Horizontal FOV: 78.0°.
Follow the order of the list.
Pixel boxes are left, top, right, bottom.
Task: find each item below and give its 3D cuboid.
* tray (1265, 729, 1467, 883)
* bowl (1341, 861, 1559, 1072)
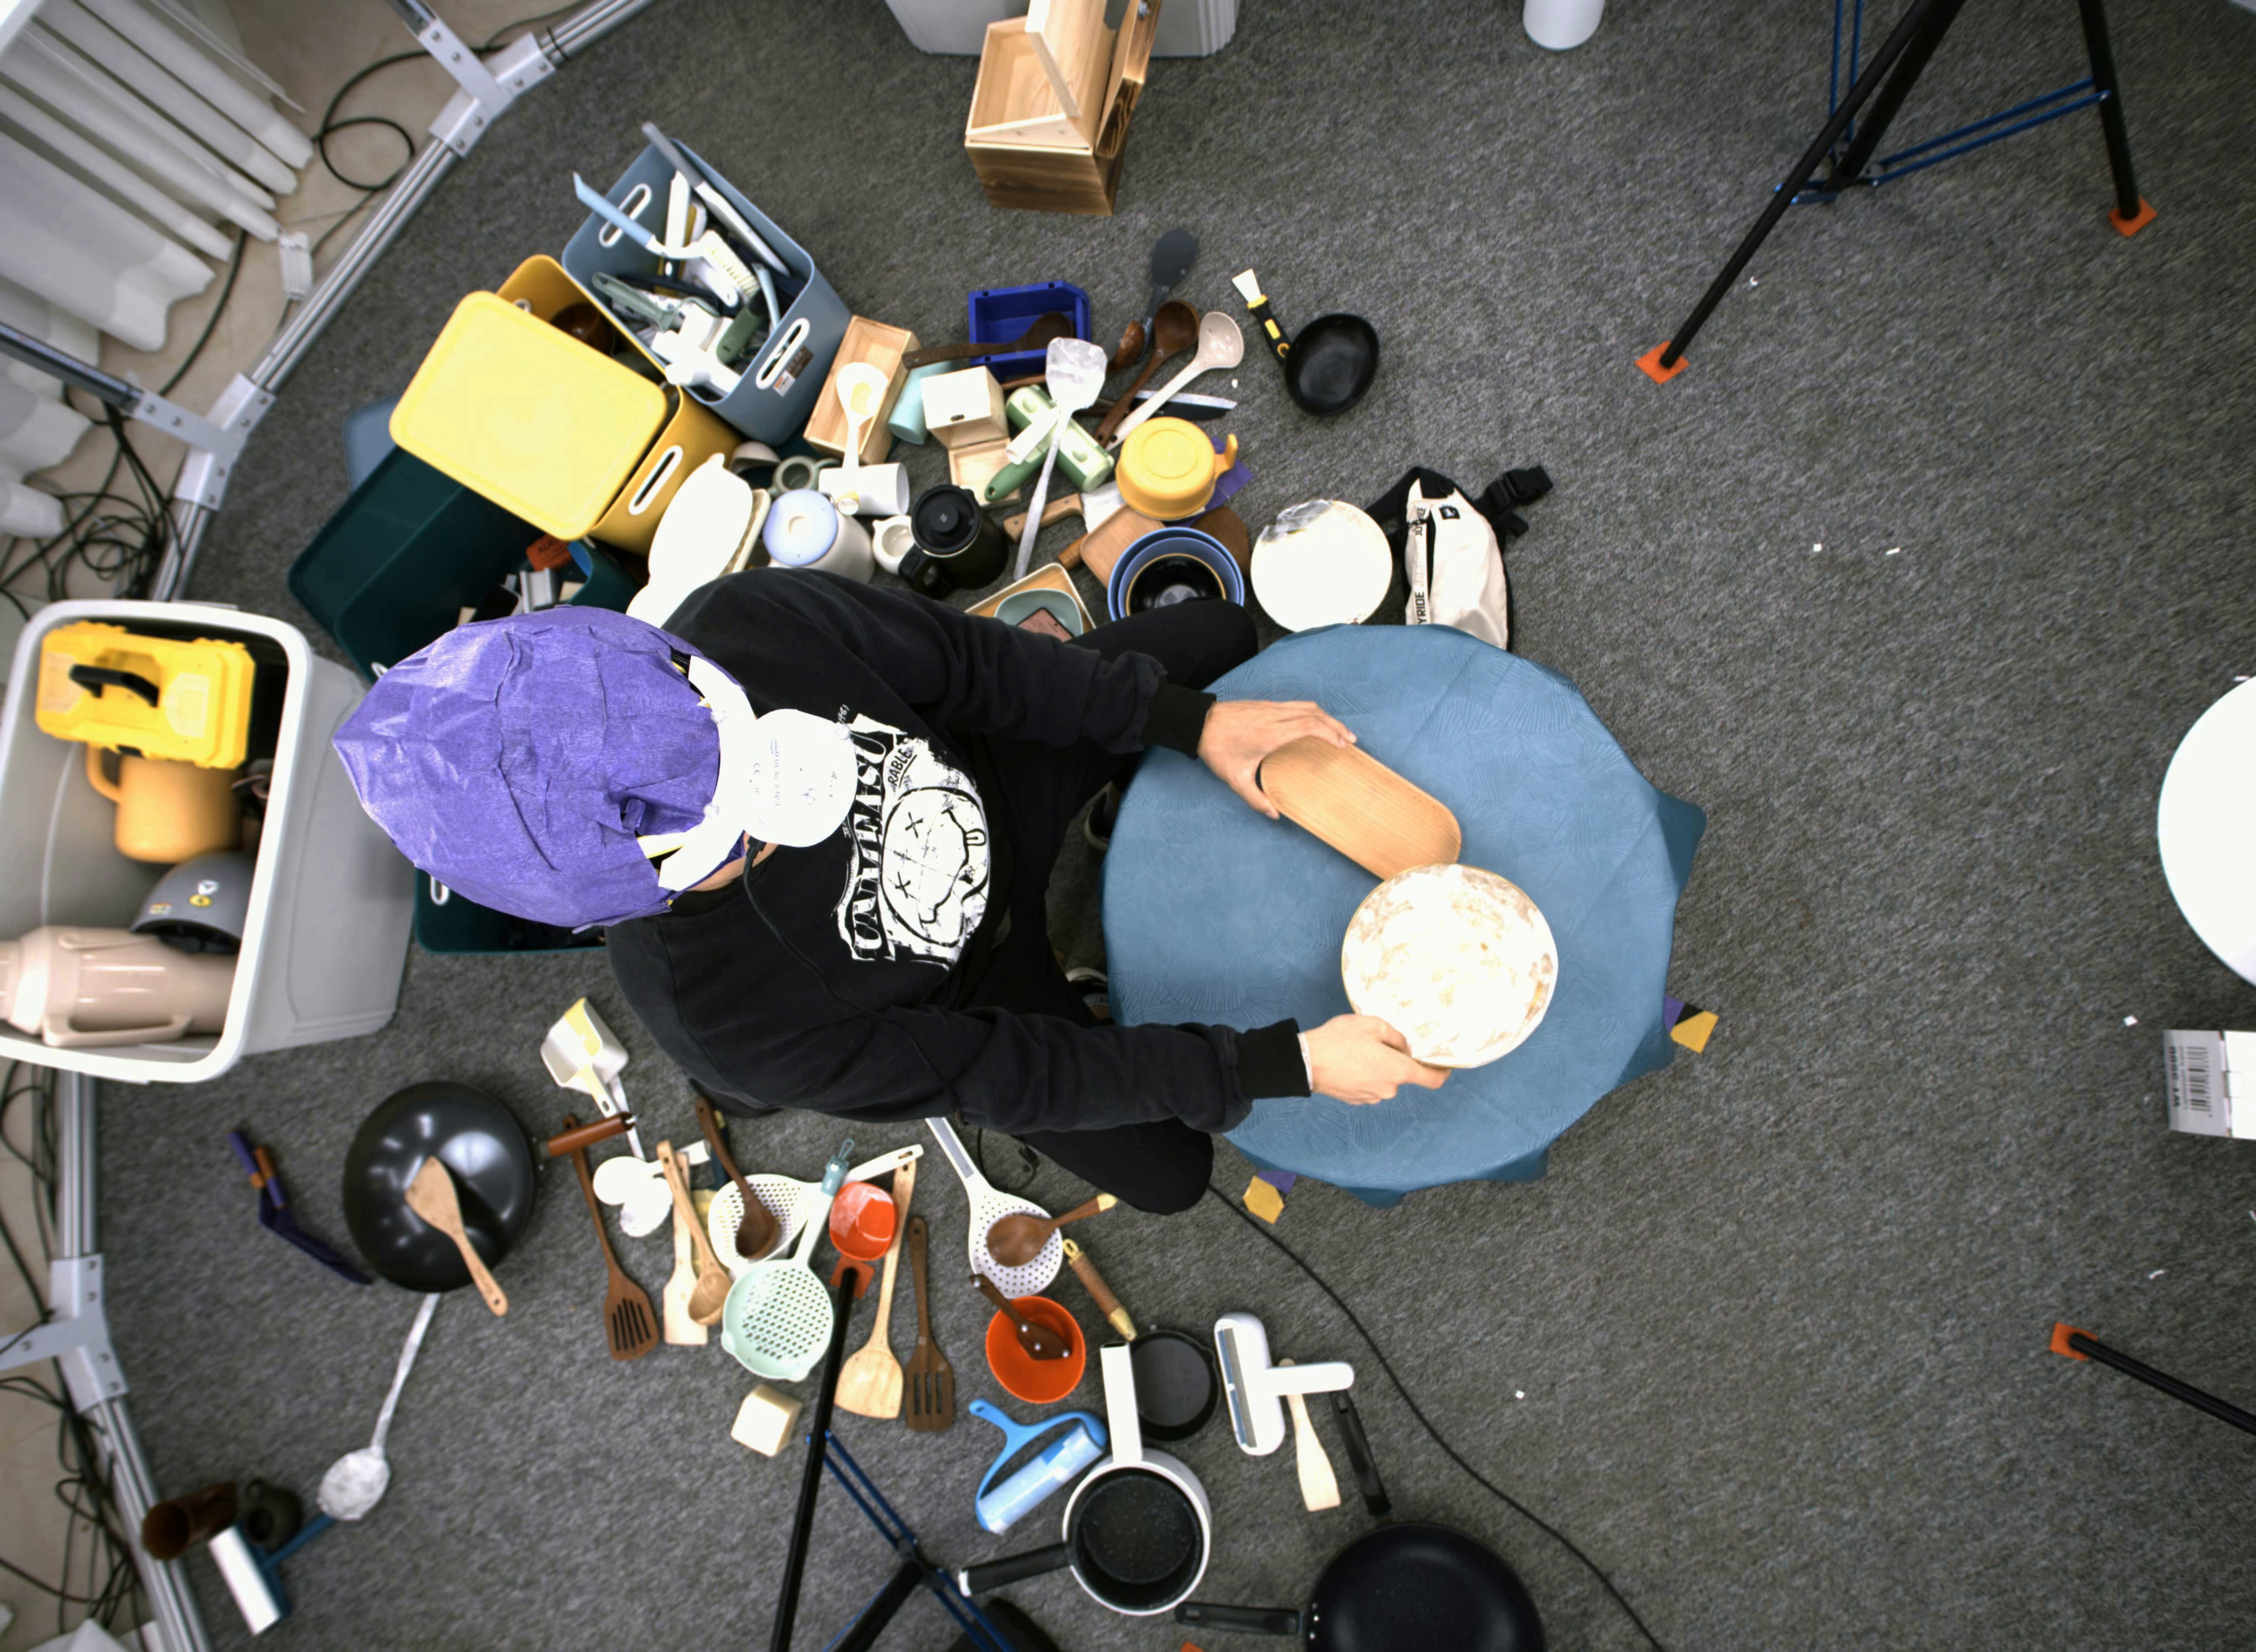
[{"bbox_3d":[0.249,-0.017,1.447,0.231,0.020,0.102,32,94,-1],"label":"tray"},{"bbox_3d":[0.314,0.142,1.356,0.216,0.095,0.211,-5,72,14],"label":"bowl"}]
